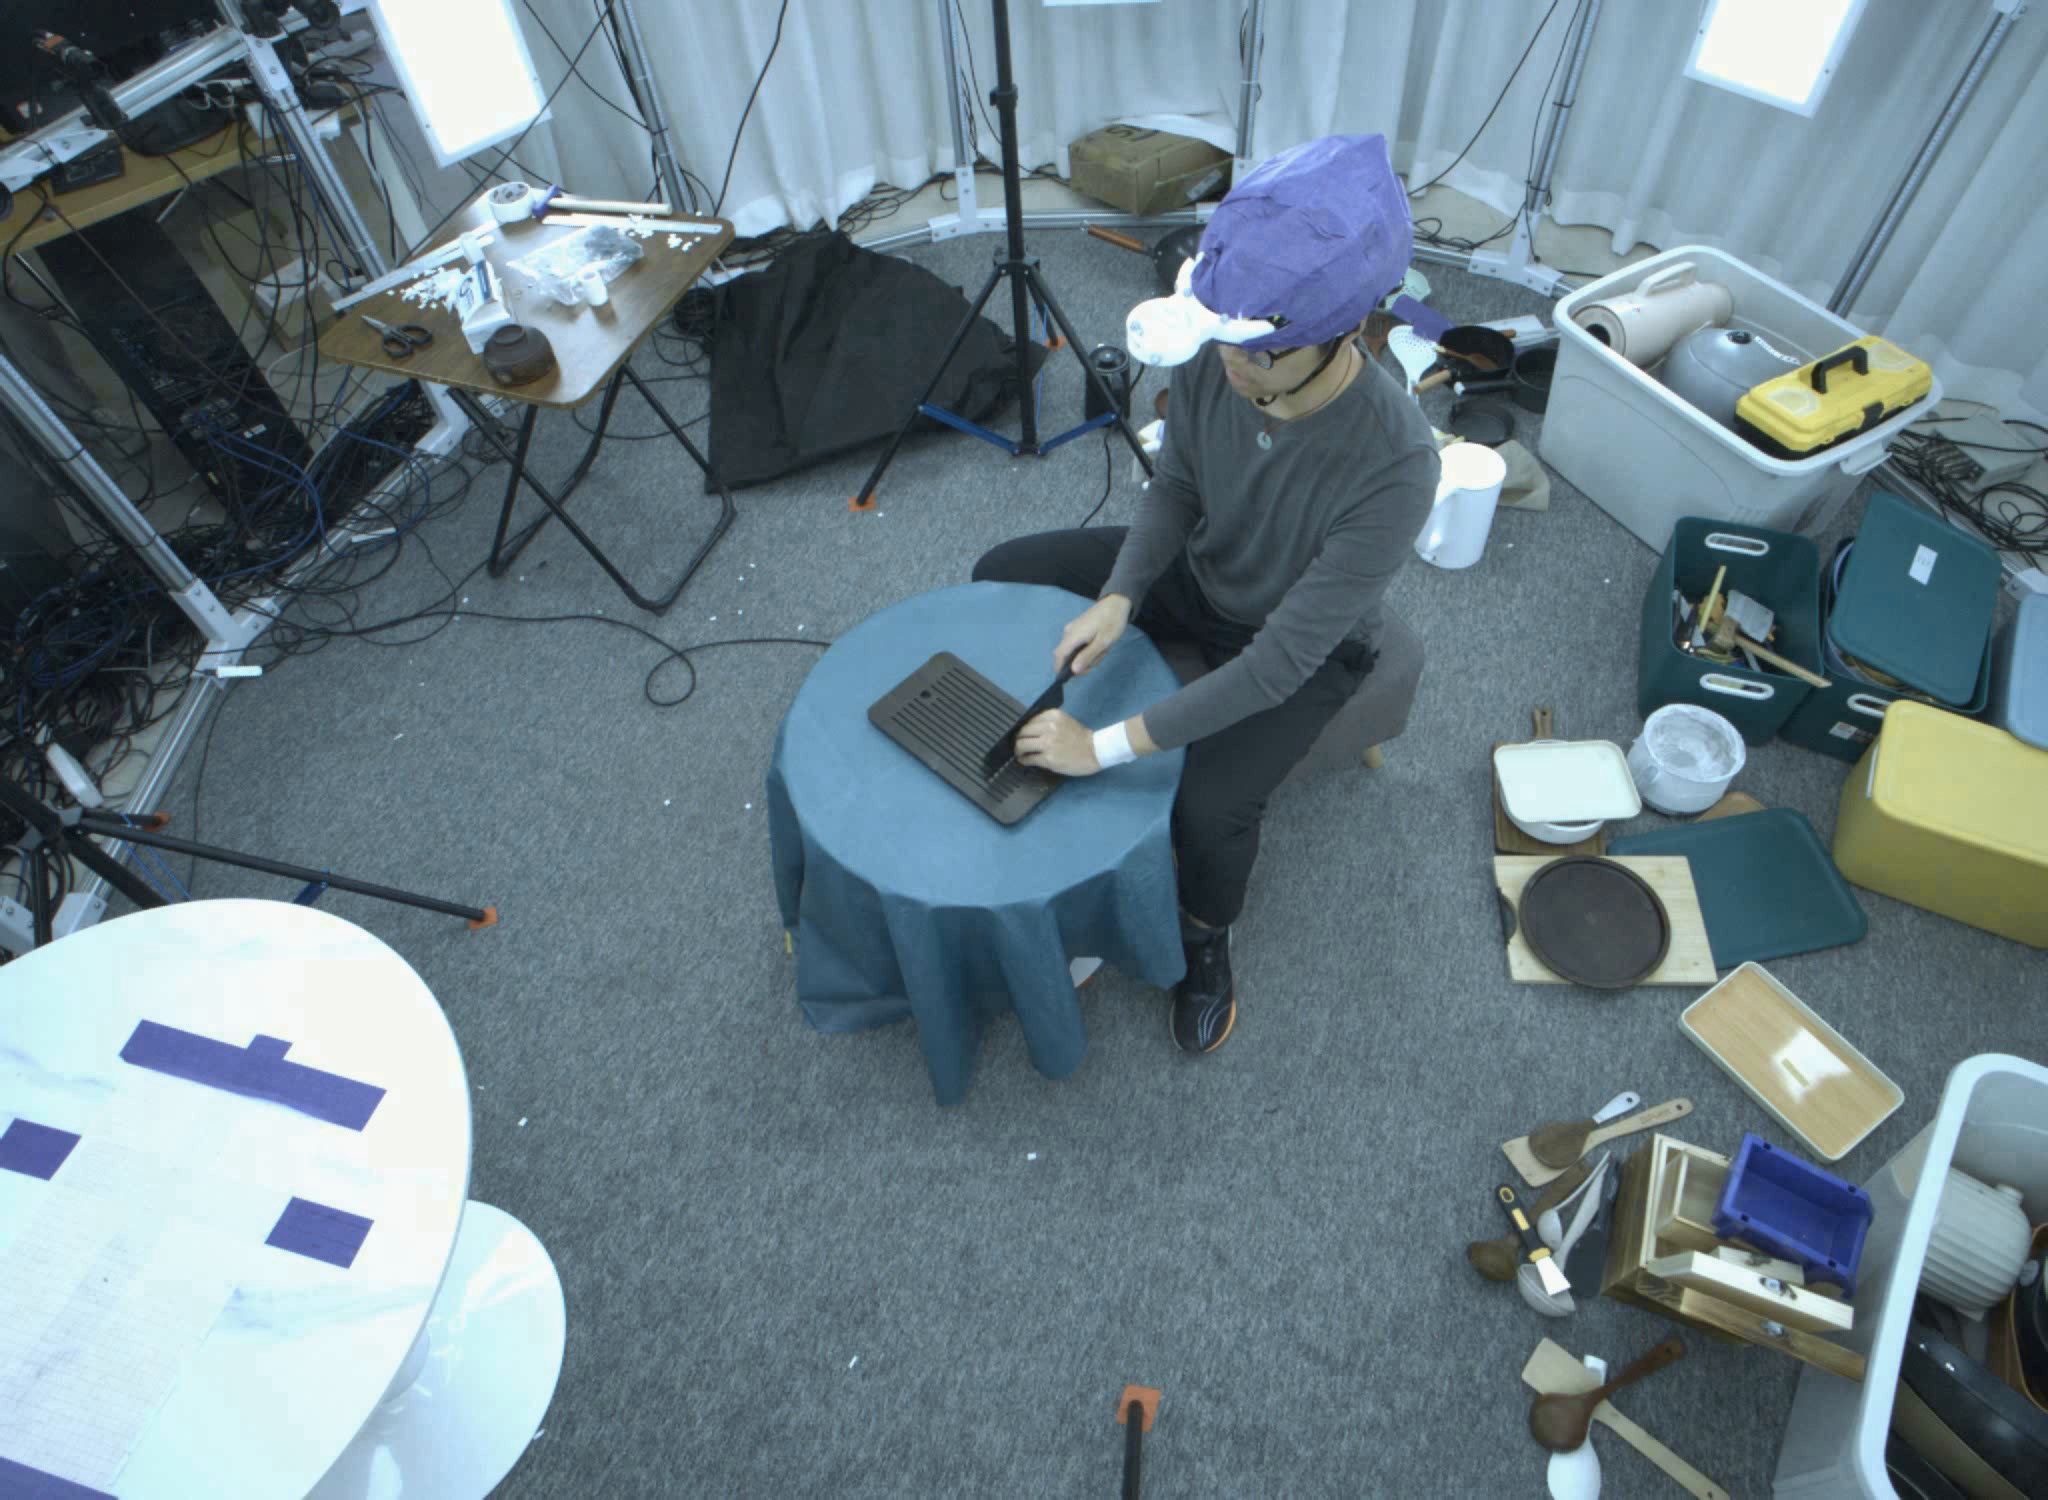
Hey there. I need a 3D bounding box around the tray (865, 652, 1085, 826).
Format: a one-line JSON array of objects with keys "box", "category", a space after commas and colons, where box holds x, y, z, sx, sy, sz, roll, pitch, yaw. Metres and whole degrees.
[{"box": [-0.074, -0.020, 1.800, 0.300, 0.019, 0.171, 37, 62, 24], "category": "tray"}]

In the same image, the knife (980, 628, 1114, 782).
[{"box": [0.034, -0.070, 1.773, 0.020, 0.082, 0.303, 32, 66, 23], "category": "knife"}]
